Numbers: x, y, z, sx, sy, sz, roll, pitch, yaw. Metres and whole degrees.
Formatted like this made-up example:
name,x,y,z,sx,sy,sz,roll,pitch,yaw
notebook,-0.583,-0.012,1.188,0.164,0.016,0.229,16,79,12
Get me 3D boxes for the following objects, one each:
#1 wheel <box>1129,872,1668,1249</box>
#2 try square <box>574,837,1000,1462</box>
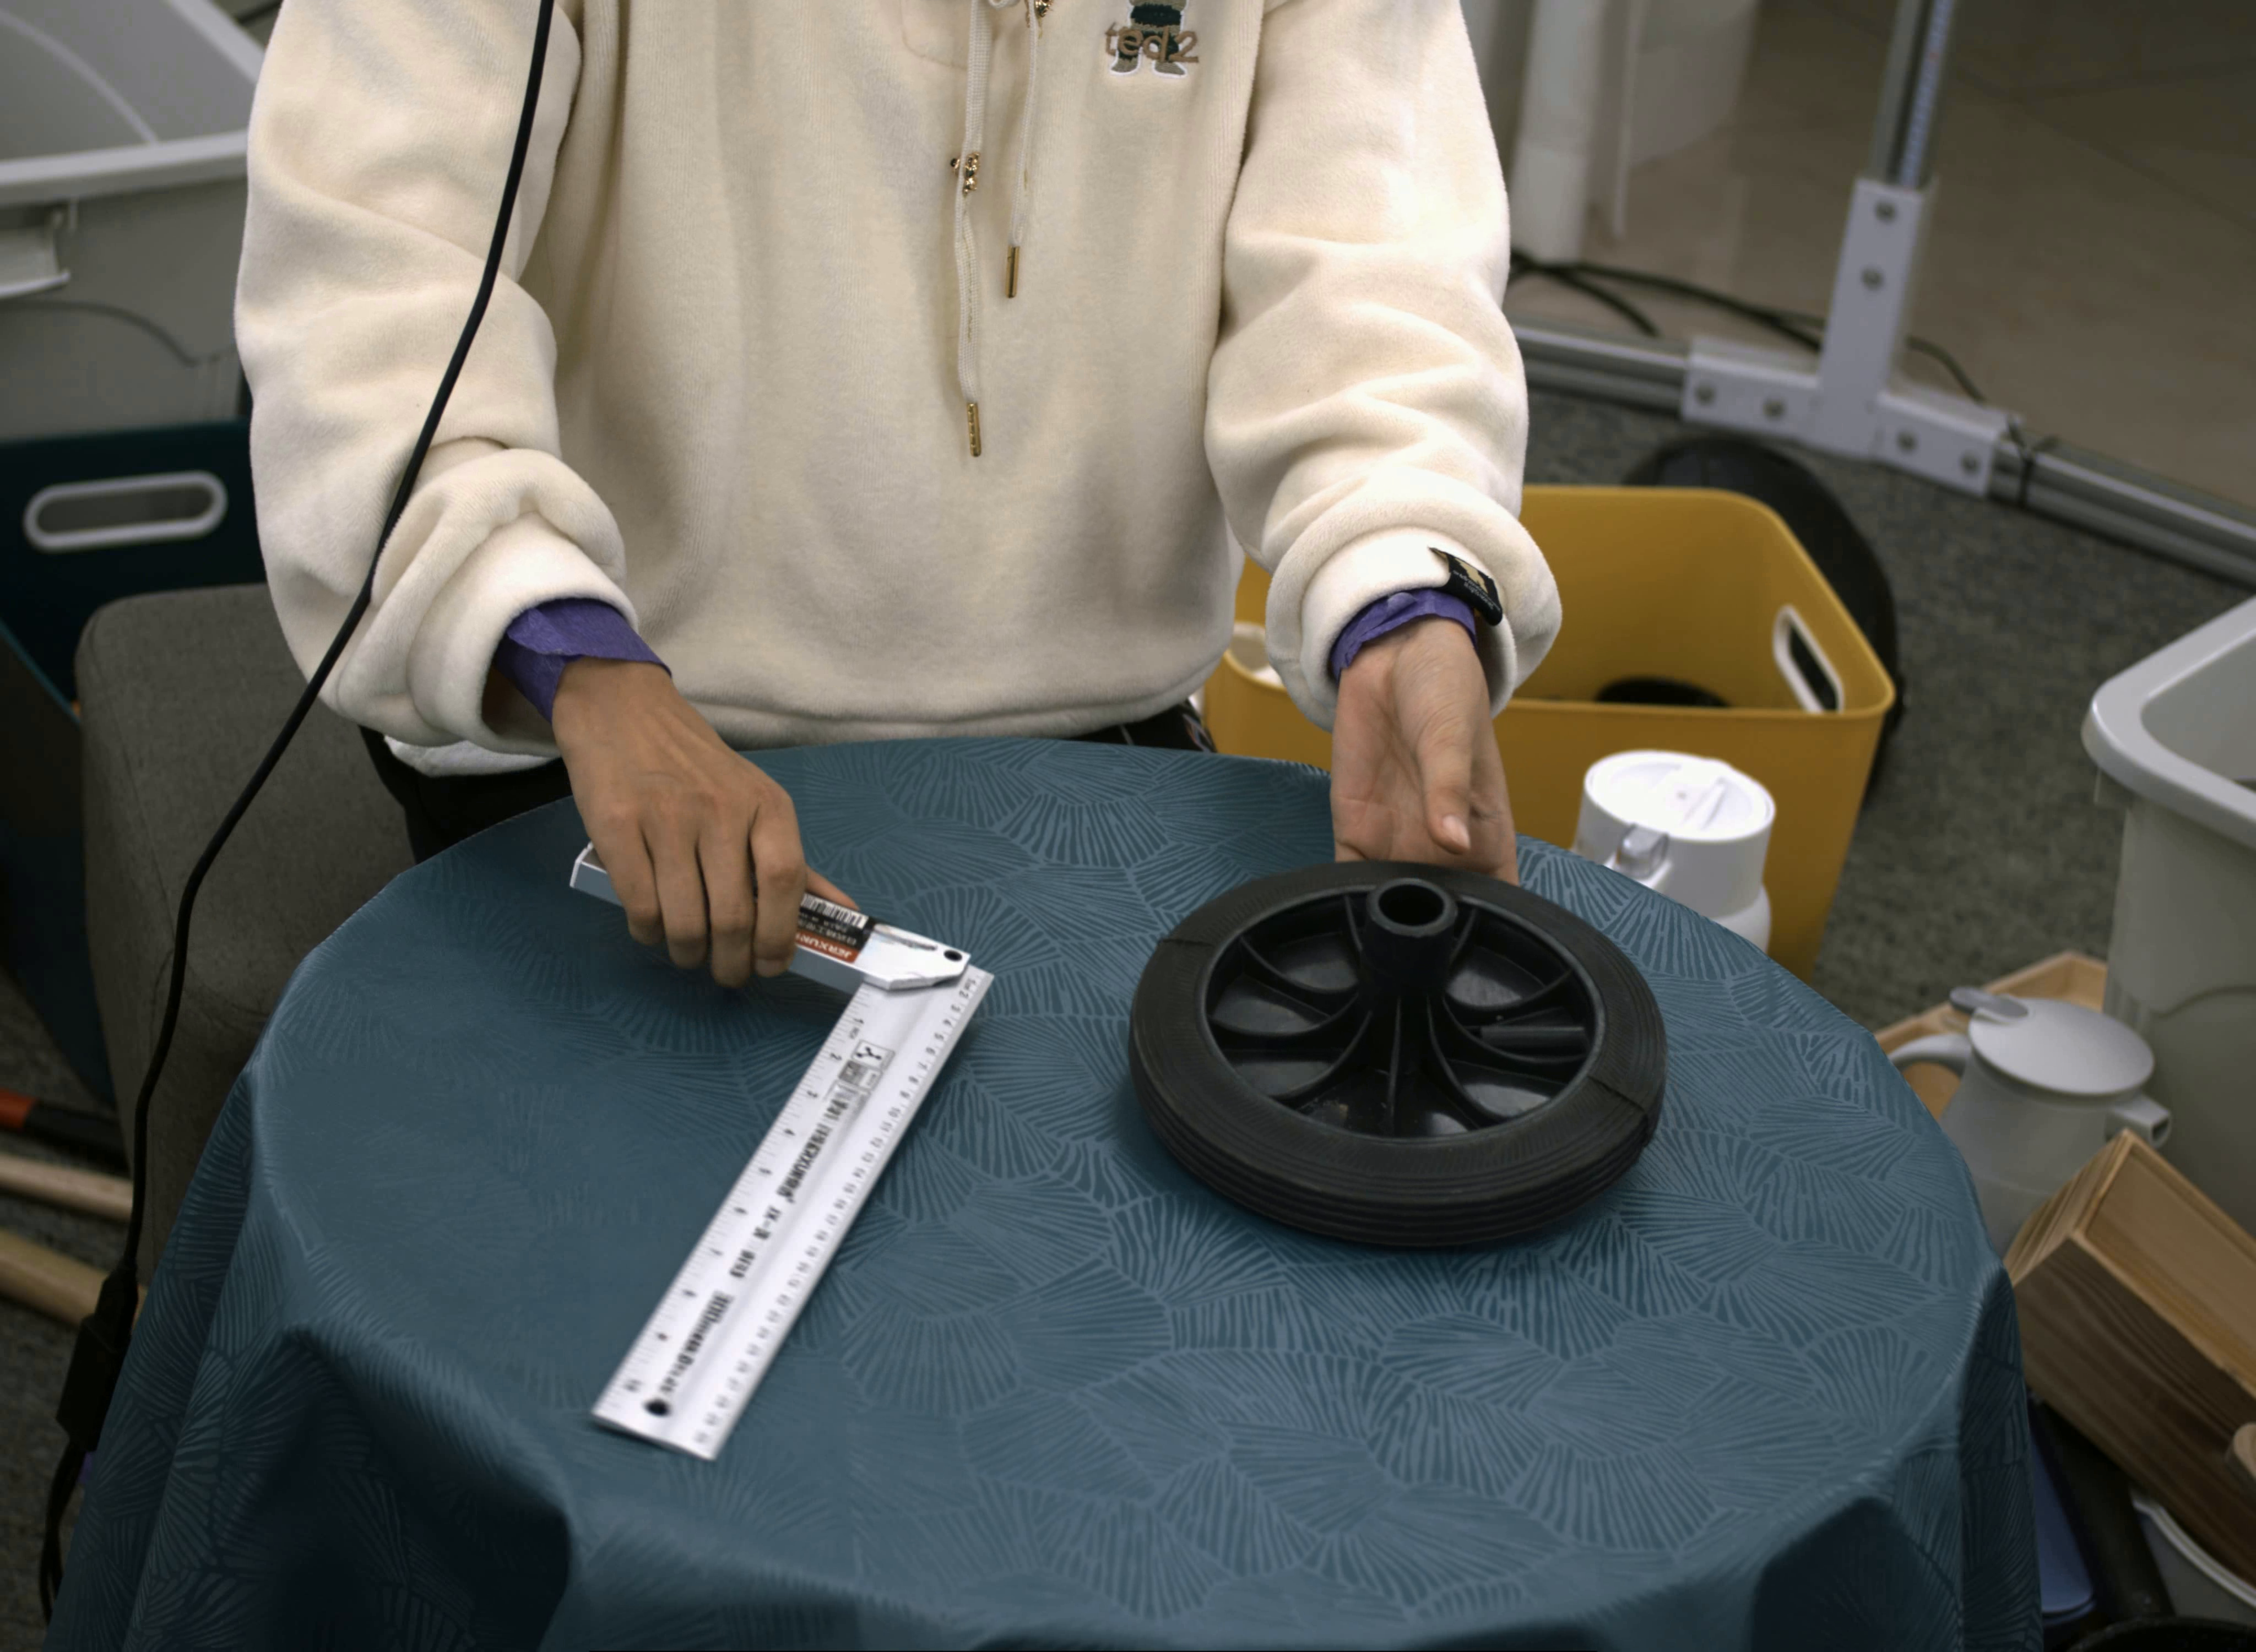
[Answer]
name,x,y,z,sx,sy,sz,roll,pitch,yaw
wheel,0.096,0.062,1.840,0.189,0.079,0.189,-14,40,-22
try square,-0.155,0.101,1.774,0.152,0.016,0.314,18,31,7
